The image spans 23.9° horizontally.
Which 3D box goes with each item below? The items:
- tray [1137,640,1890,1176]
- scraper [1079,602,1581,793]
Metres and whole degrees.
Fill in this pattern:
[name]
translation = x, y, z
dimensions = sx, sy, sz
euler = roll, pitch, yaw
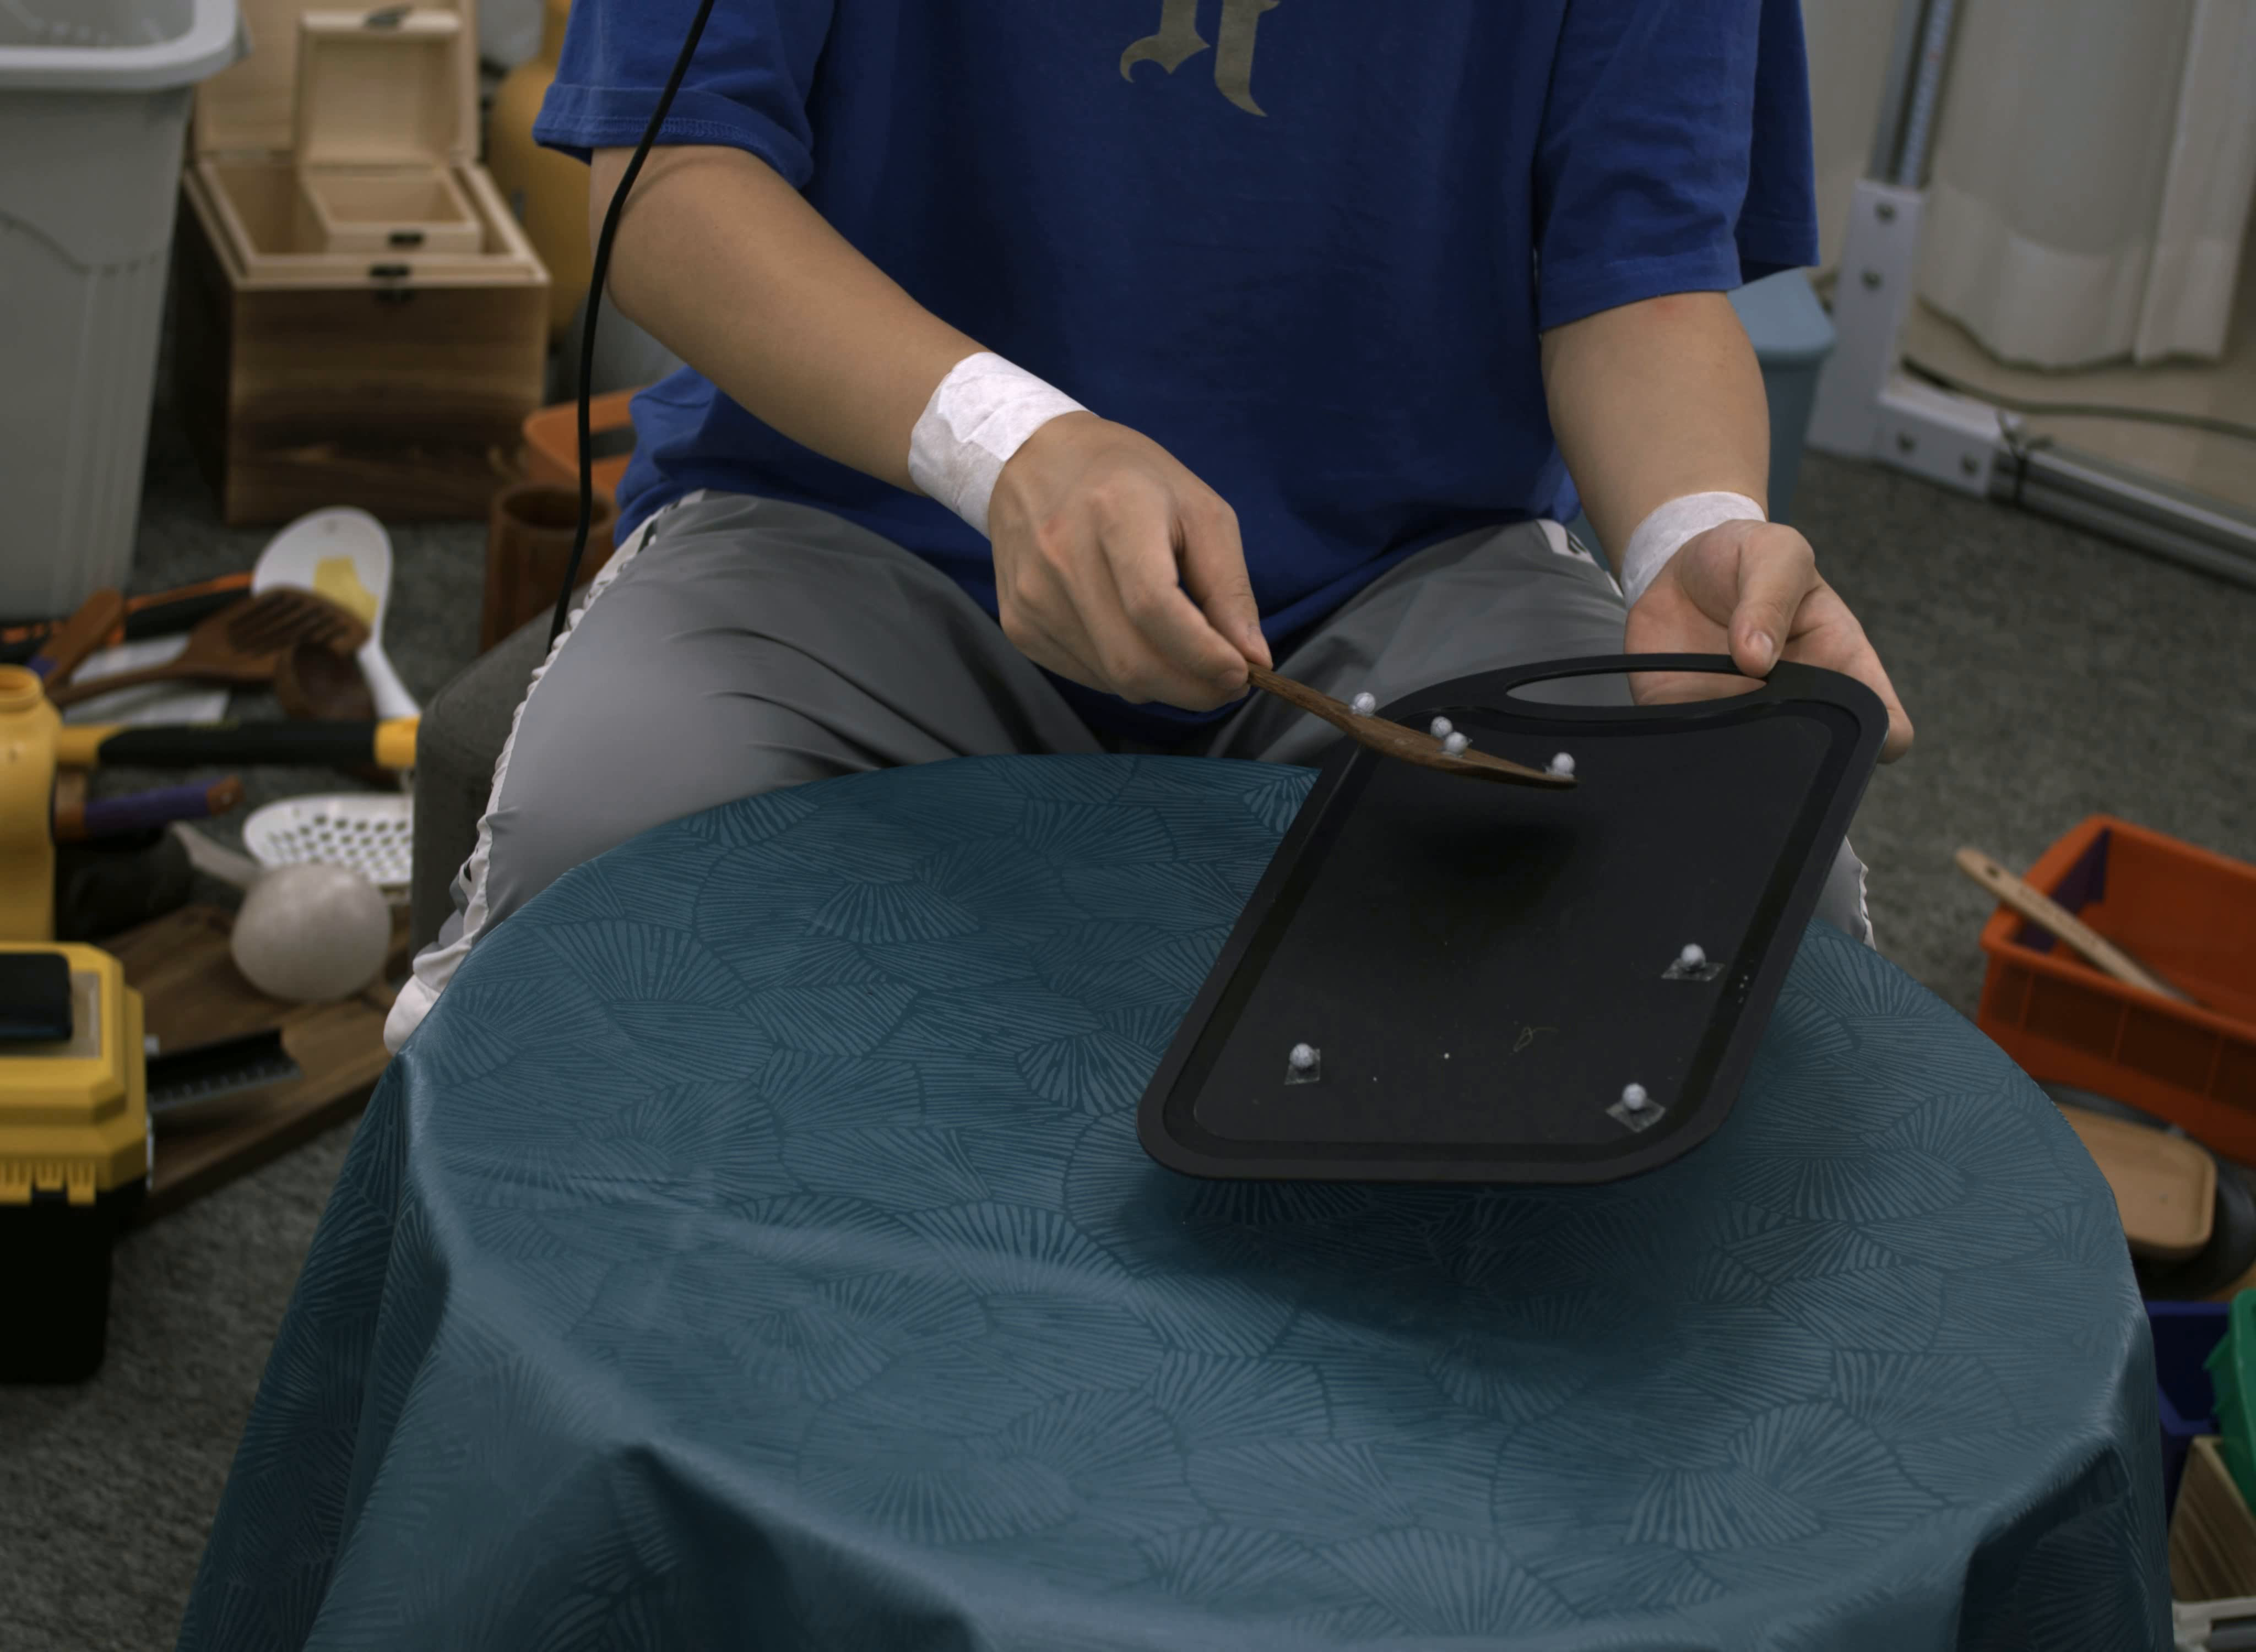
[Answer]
[tray]
translation = 0.138, 0.021, 1.843
dimensions = 0.211, 0.010, 0.326
euler = -1, 33, 25
[scraper]
translation = 0.065, -0.046, 1.902
dimensions = 0.213, 0.011, 0.075
euler = 24, 8, 37
